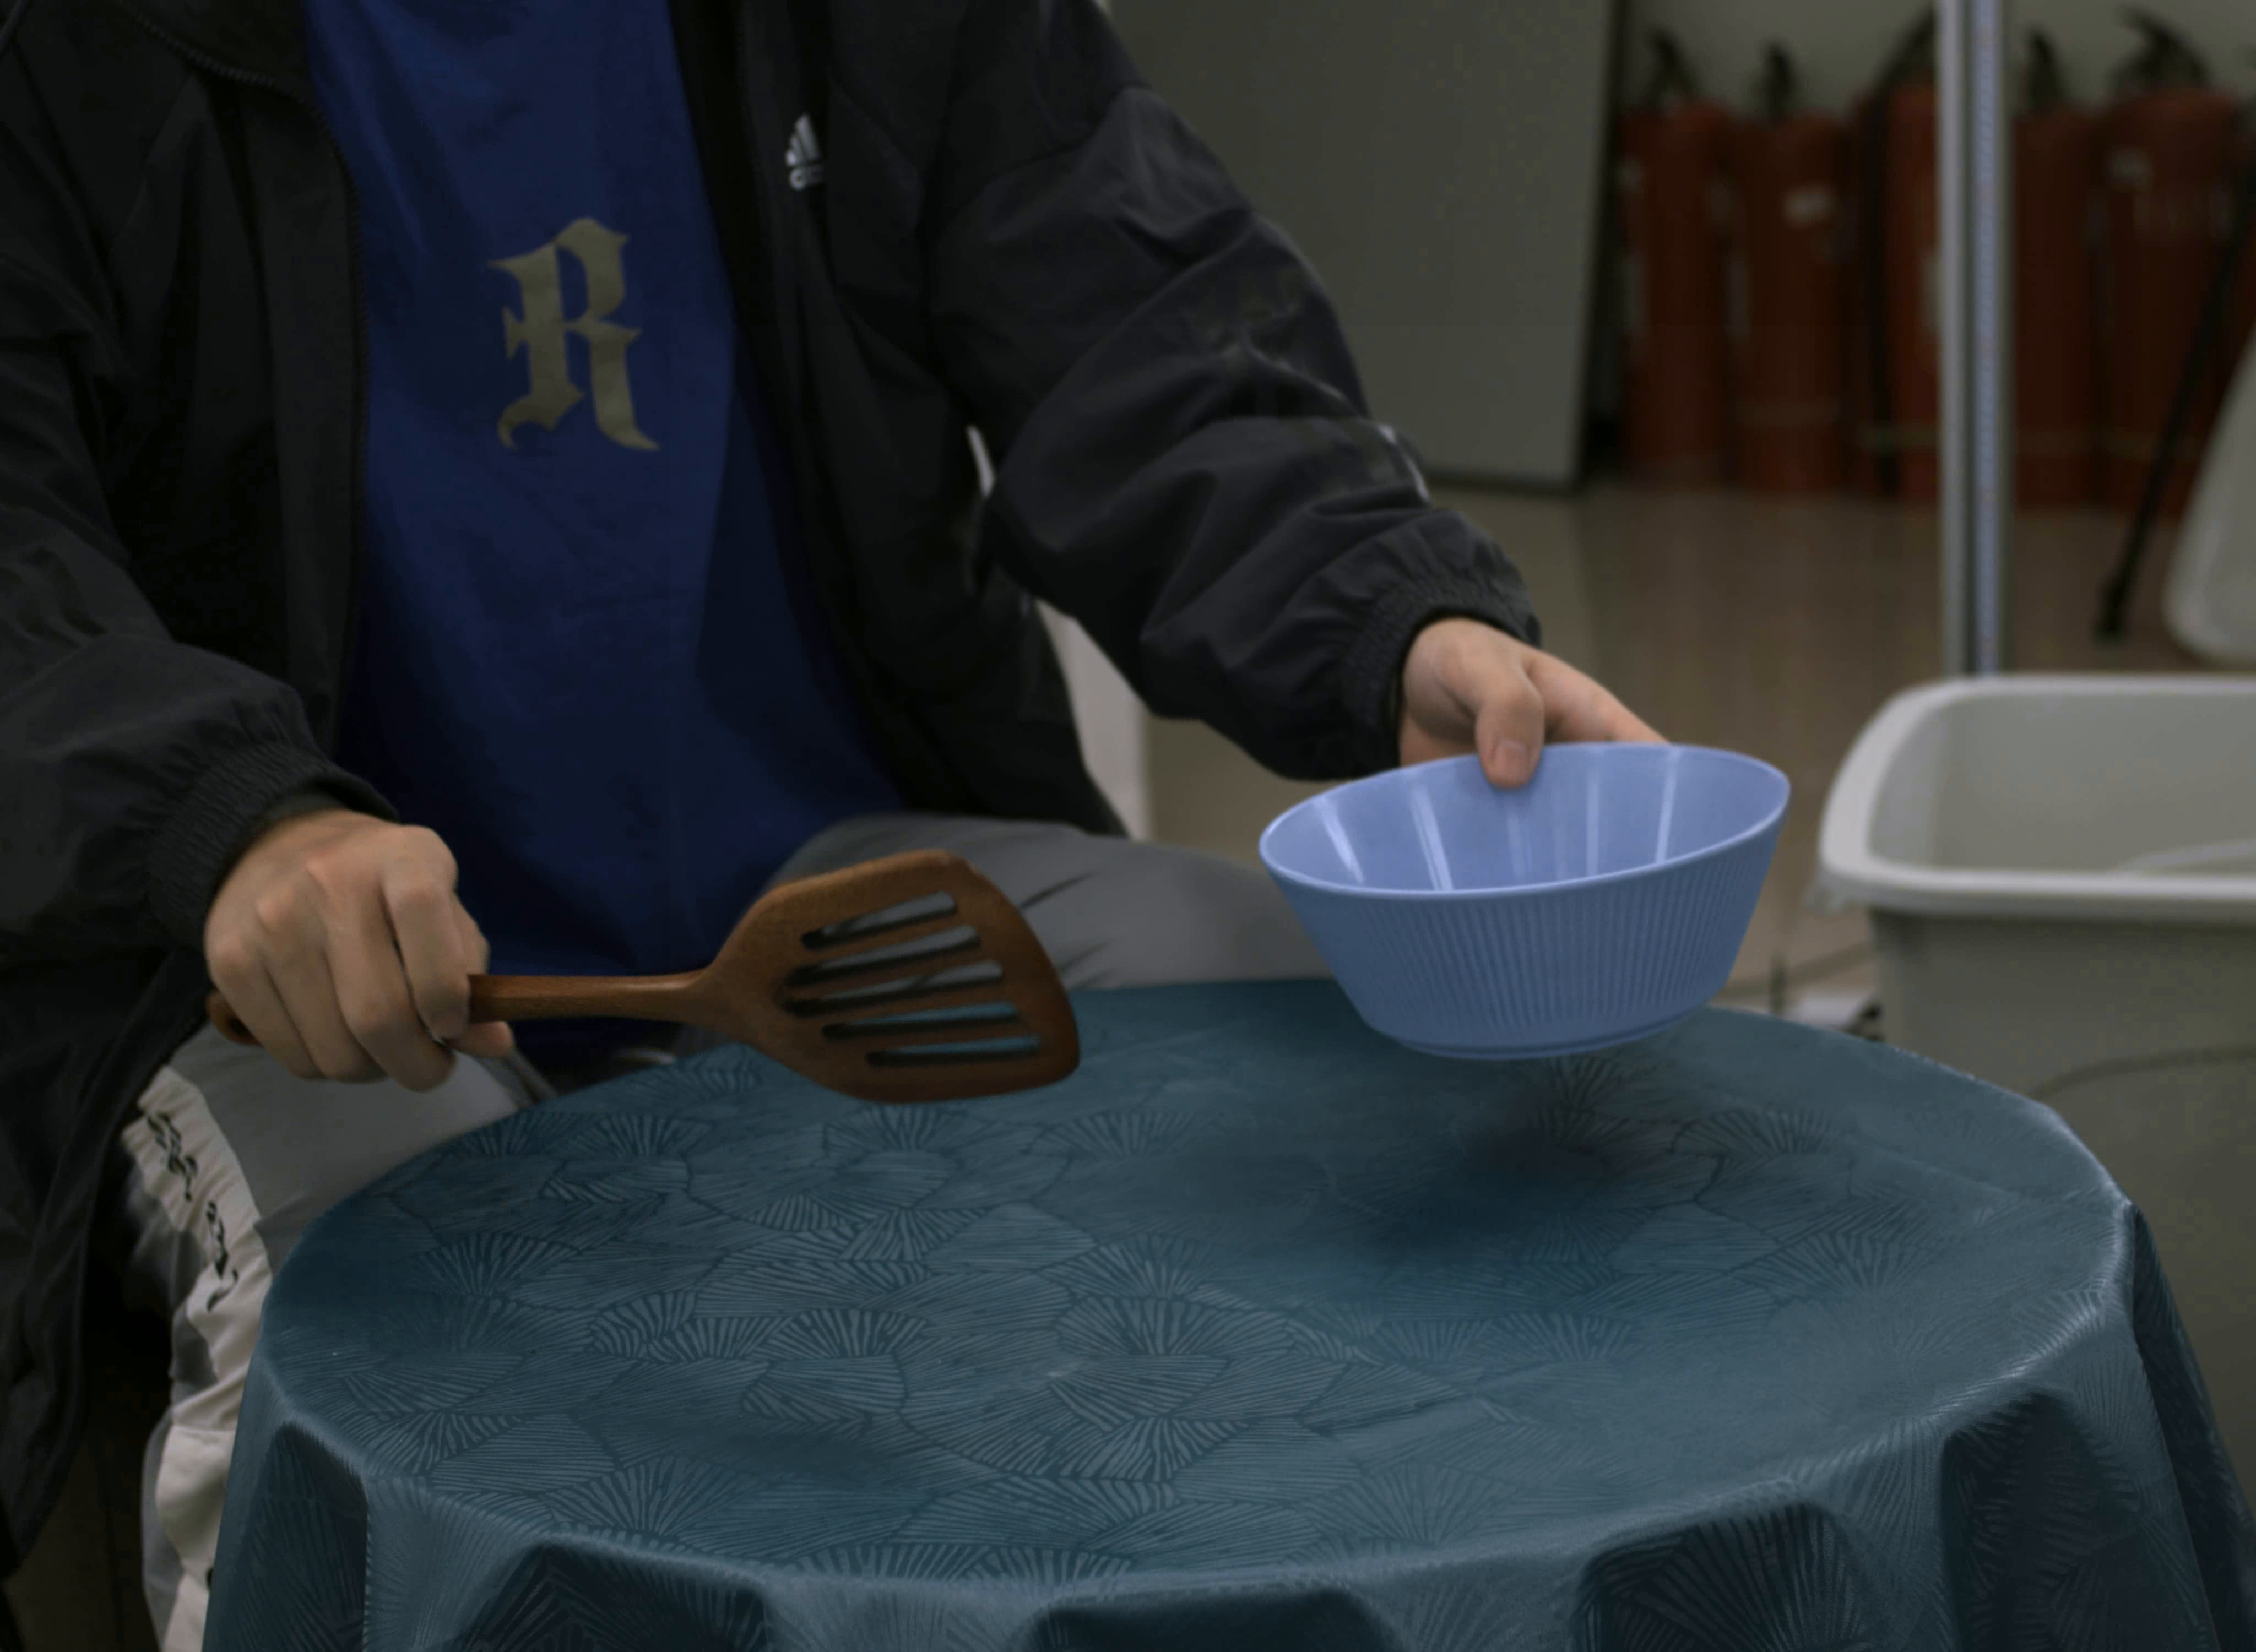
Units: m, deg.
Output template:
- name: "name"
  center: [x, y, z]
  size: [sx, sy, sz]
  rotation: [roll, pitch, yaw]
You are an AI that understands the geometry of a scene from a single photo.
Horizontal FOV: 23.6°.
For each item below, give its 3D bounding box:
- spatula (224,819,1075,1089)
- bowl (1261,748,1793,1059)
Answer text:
- name: "spatula"
  center: [-0.164, 0.054, 1.663]
  size: [0.390, 0.085, 0.024]
  rotation: [-8, 27, 46]
- name: "bowl"
  center: [0.133, 0.027, 1.752]
  size: [0.174, 0.071, 0.176]
  rotation: [-8, 12, 1]
